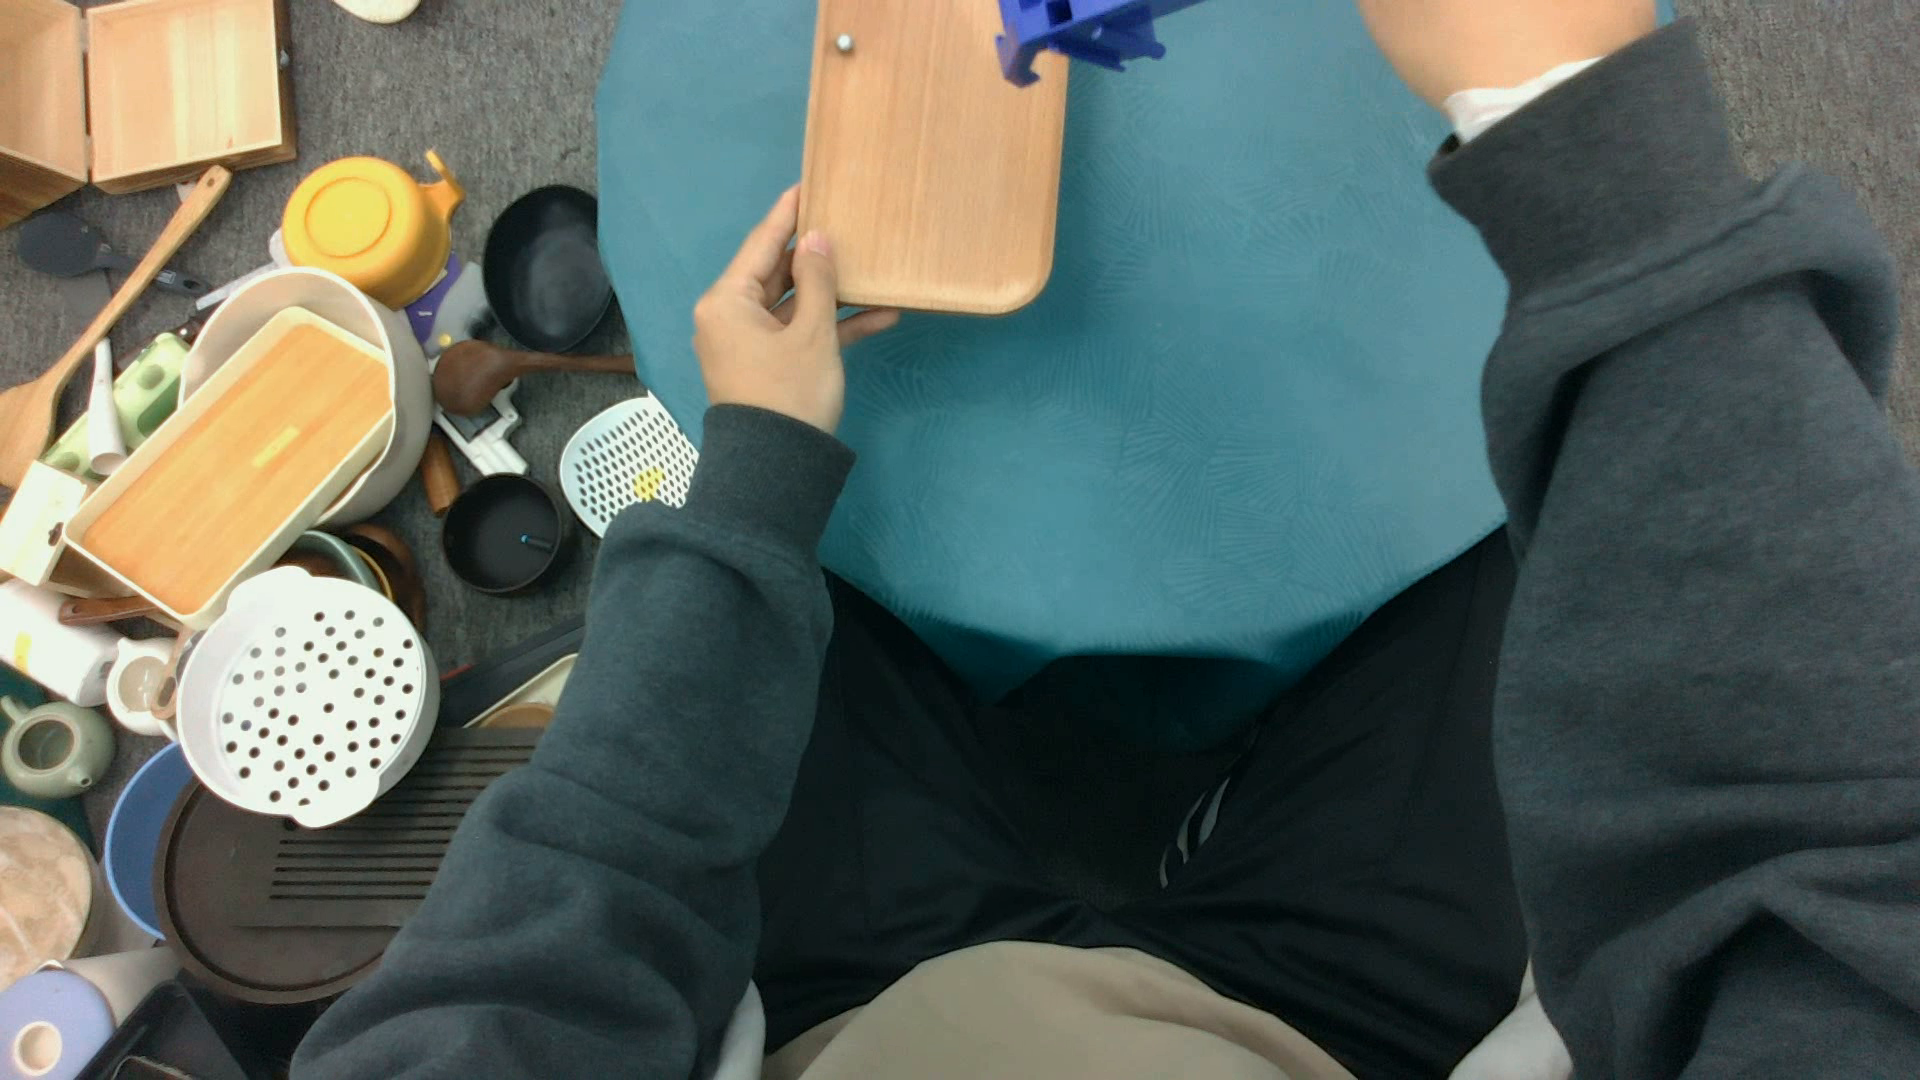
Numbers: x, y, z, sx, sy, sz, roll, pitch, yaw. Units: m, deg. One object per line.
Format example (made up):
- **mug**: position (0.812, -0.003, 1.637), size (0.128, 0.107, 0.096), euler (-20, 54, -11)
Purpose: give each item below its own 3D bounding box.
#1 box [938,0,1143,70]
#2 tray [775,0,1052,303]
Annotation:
- **box**: position (0.063, -0.253, 0.499), size (0.179, 0.082, 0.124), euler (-7, 97, 22)
- **tray**: position (-0.020, -0.241, 0.692), size (0.130, 0.023, 0.251), euler (4, 82, 3)
